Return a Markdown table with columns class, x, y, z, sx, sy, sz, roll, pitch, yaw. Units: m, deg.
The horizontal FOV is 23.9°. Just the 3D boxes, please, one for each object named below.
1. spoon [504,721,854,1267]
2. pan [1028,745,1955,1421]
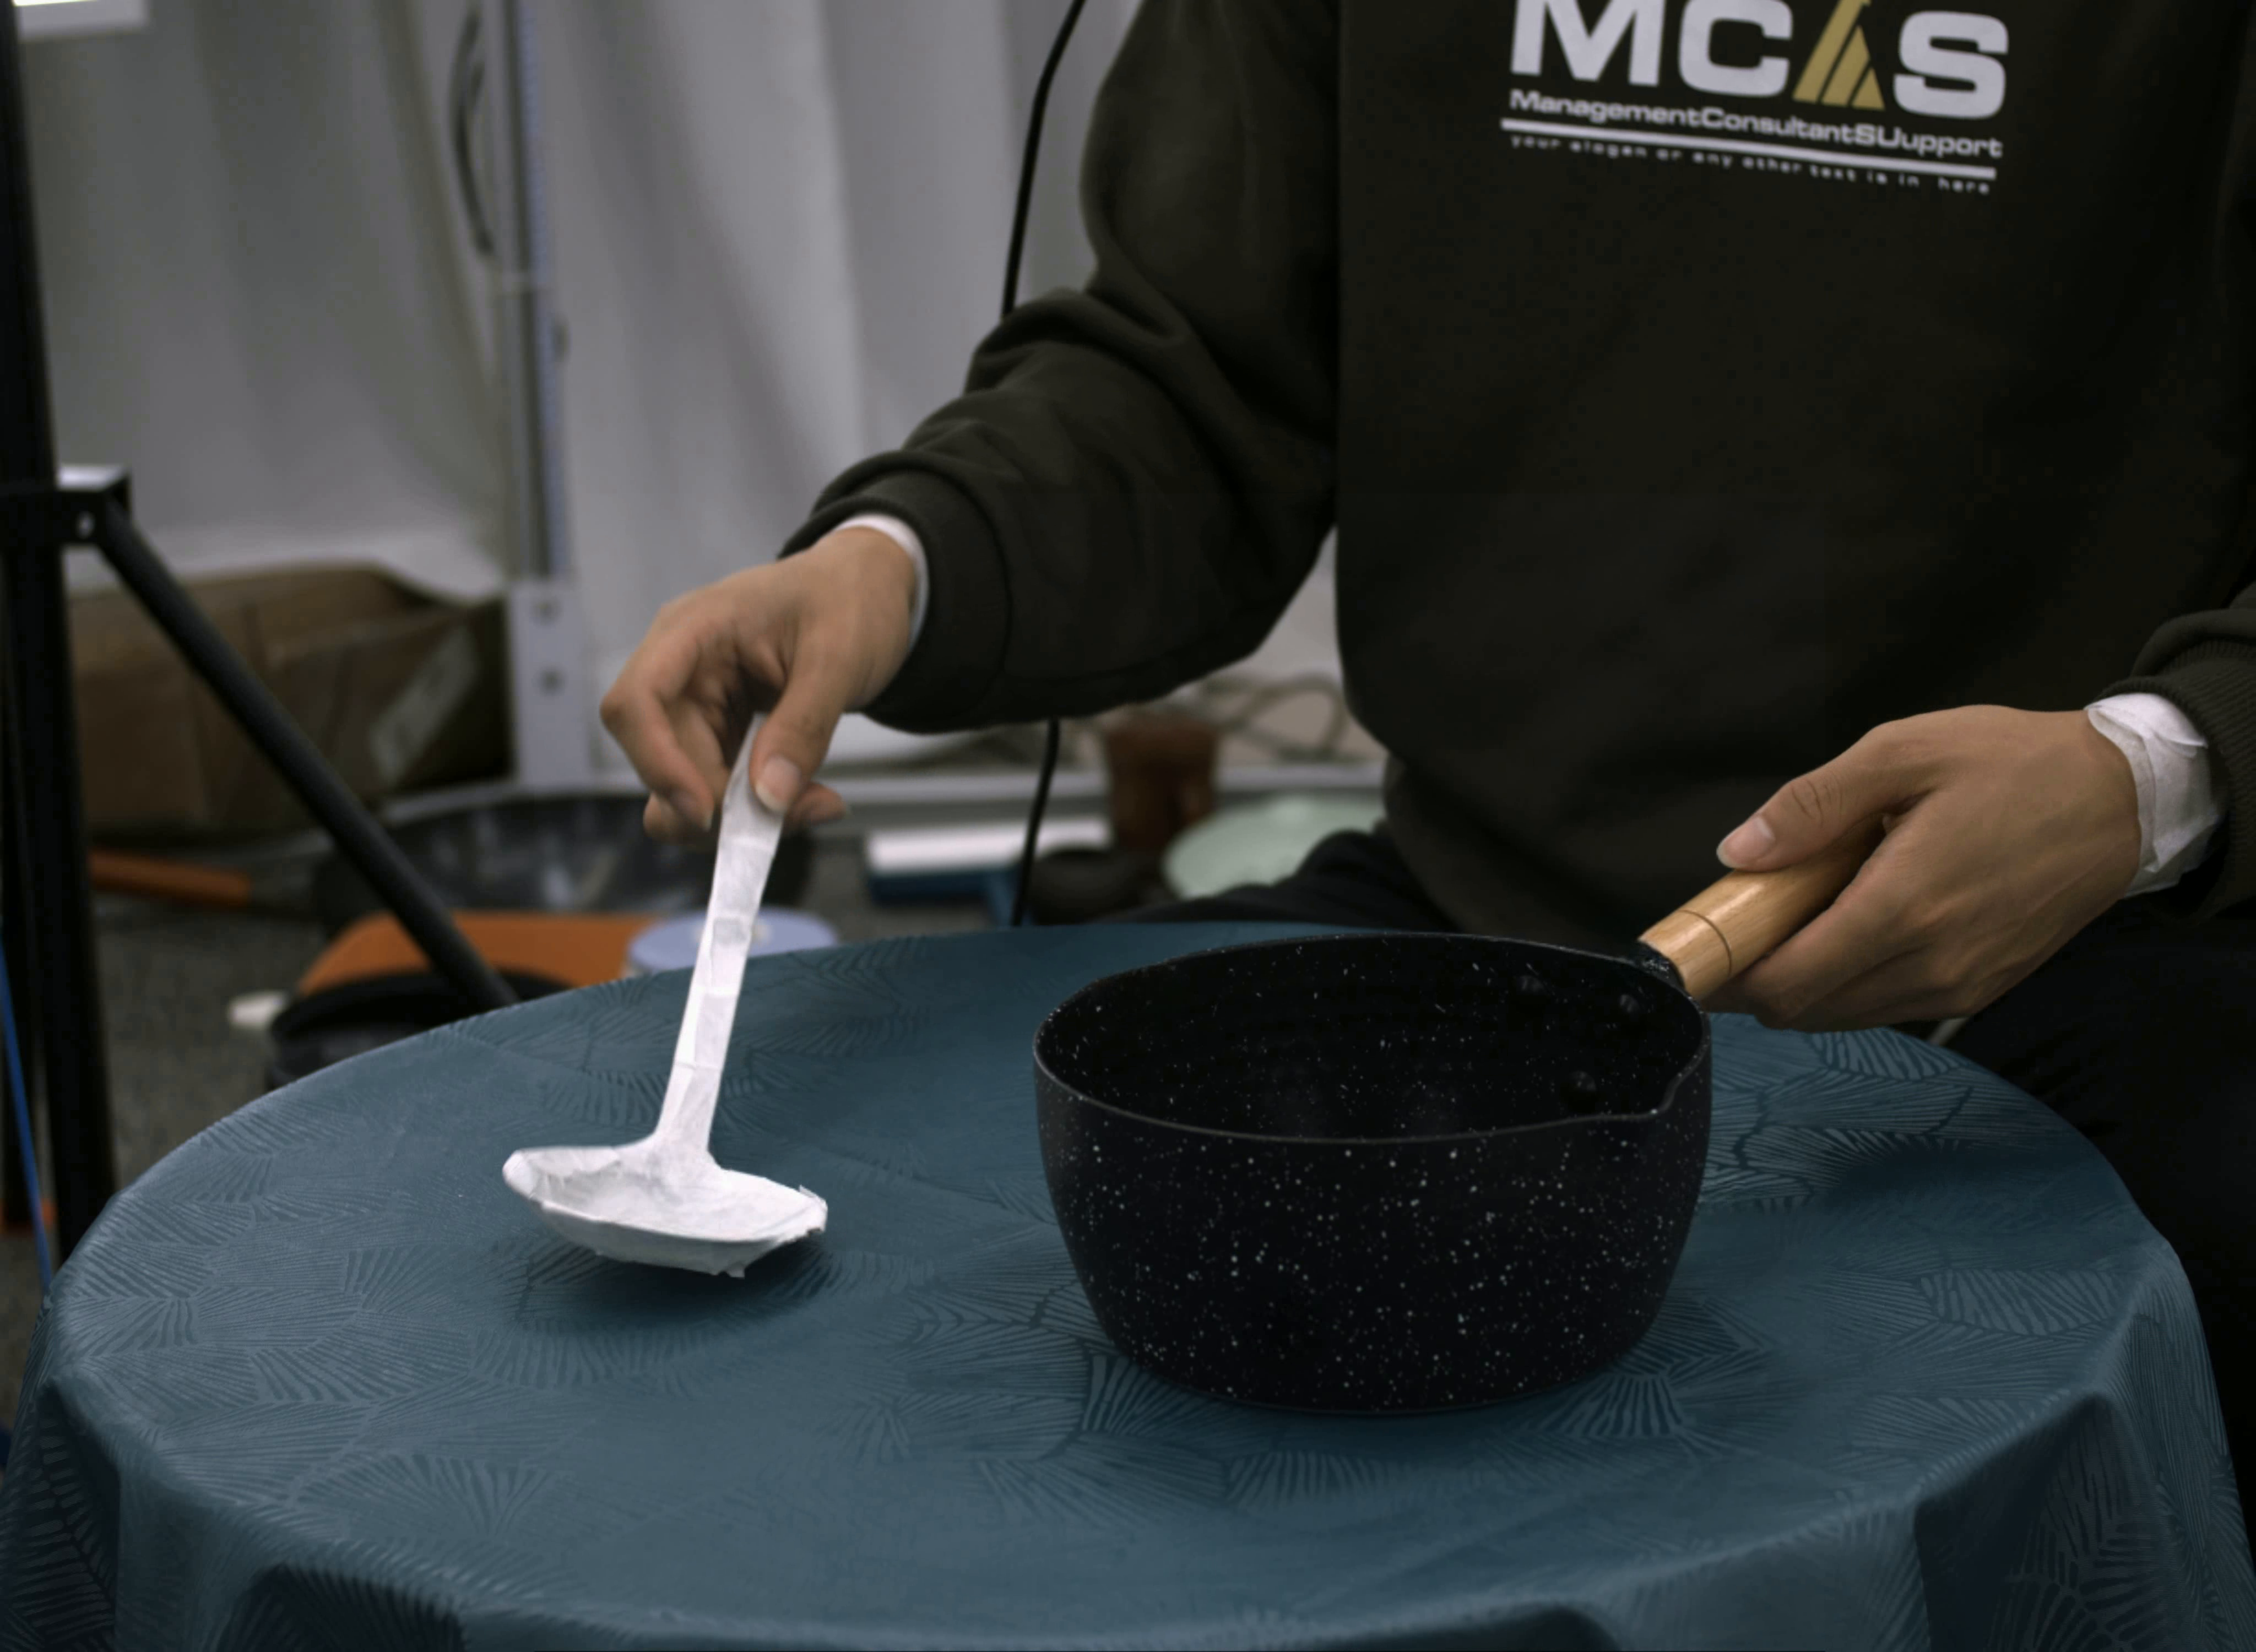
| class | x | y | z | sx | sy | sz | roll | pitch | yaw |
| --- | --- | --- | --- | --- | --- | --- | --- | --- | --- |
| spoon | -0.114 | 0.040 | 1.593 | 0.100 | 0.059 | 0.278 | 10 | 42 | 2 |
| pan | 0.121 | 0.067 | 1.491 | 0.212 | 0.108 | 0.335 | 11 | 22 | 44 |
